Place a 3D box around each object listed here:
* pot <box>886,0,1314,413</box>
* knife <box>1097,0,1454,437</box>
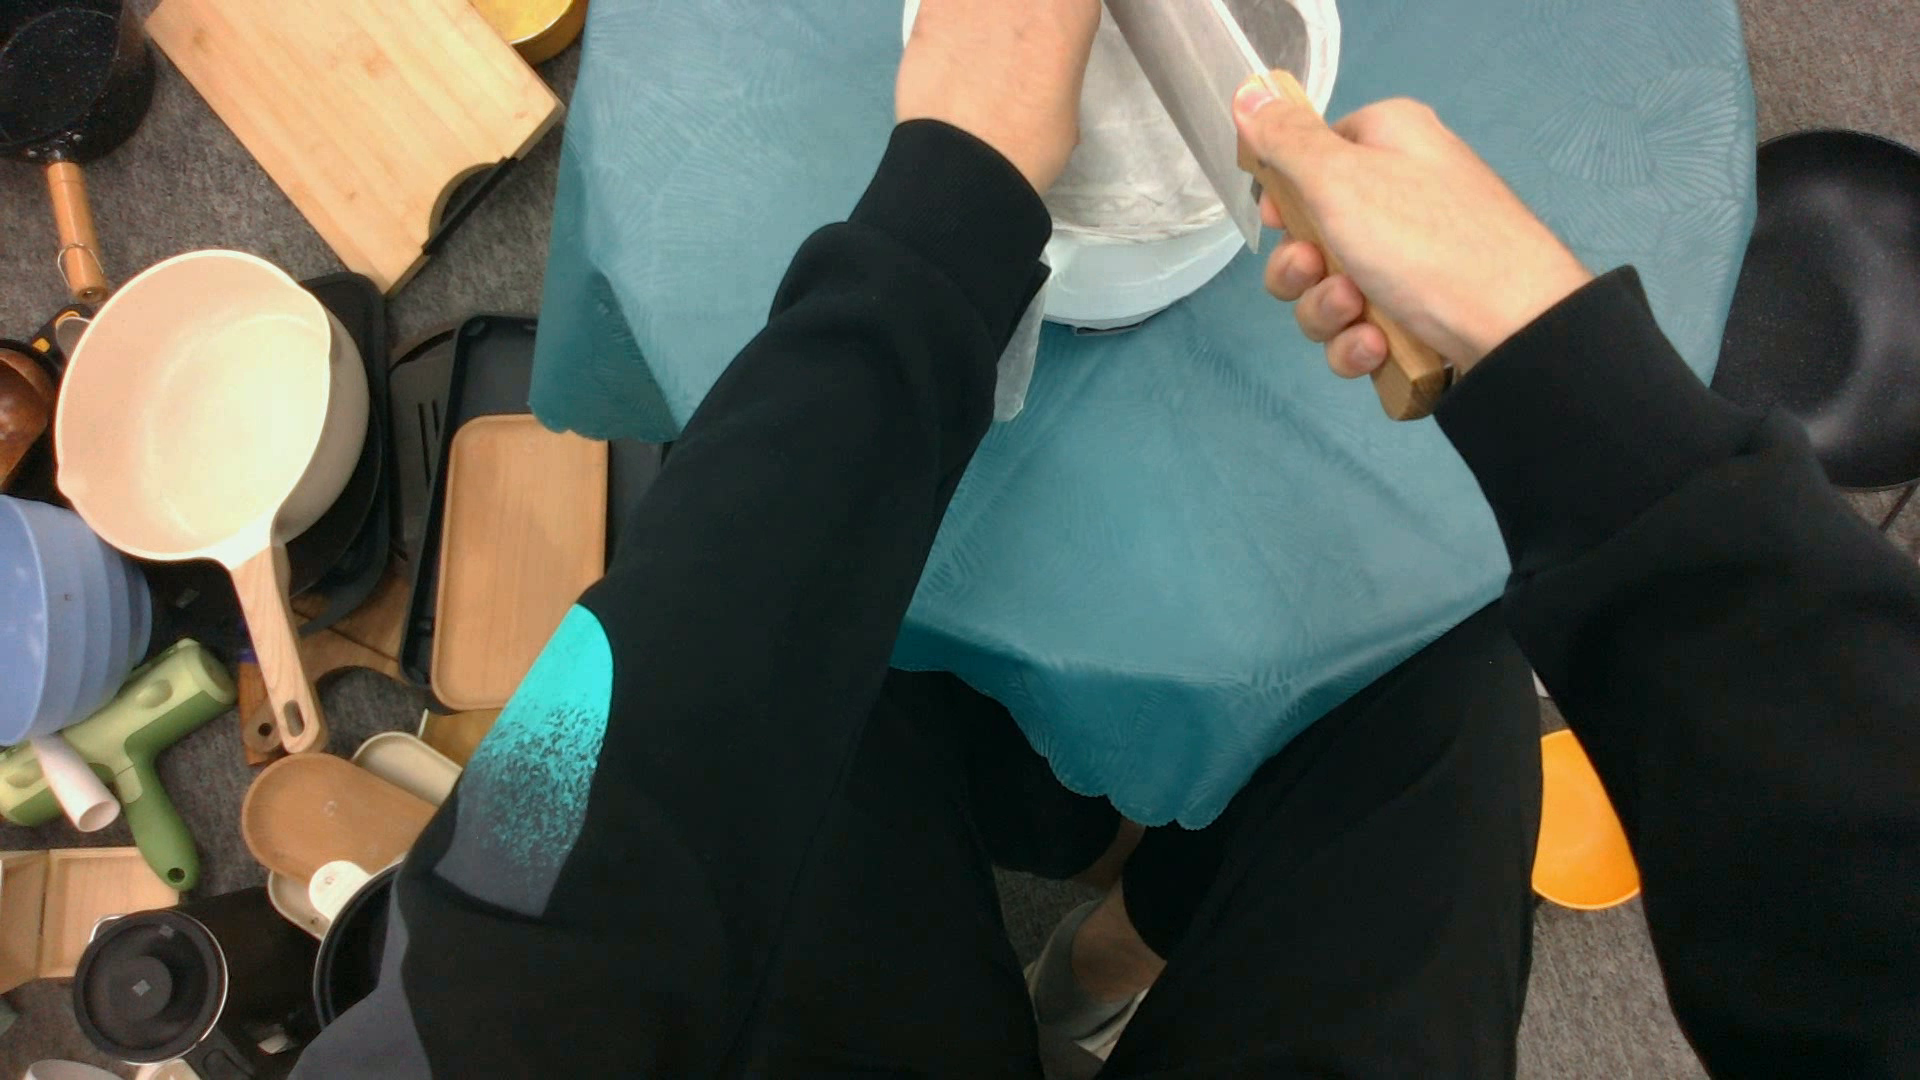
[{"bbox_3d":[0.046,-0.174,0.622,0.179,0.136,0.234,21,80,1],"label":"pot"},{"bbox_3d":[0.093,-0.163,0.506,0.022,0.113,0.316,-21,58,-2],"label":"knife"}]
